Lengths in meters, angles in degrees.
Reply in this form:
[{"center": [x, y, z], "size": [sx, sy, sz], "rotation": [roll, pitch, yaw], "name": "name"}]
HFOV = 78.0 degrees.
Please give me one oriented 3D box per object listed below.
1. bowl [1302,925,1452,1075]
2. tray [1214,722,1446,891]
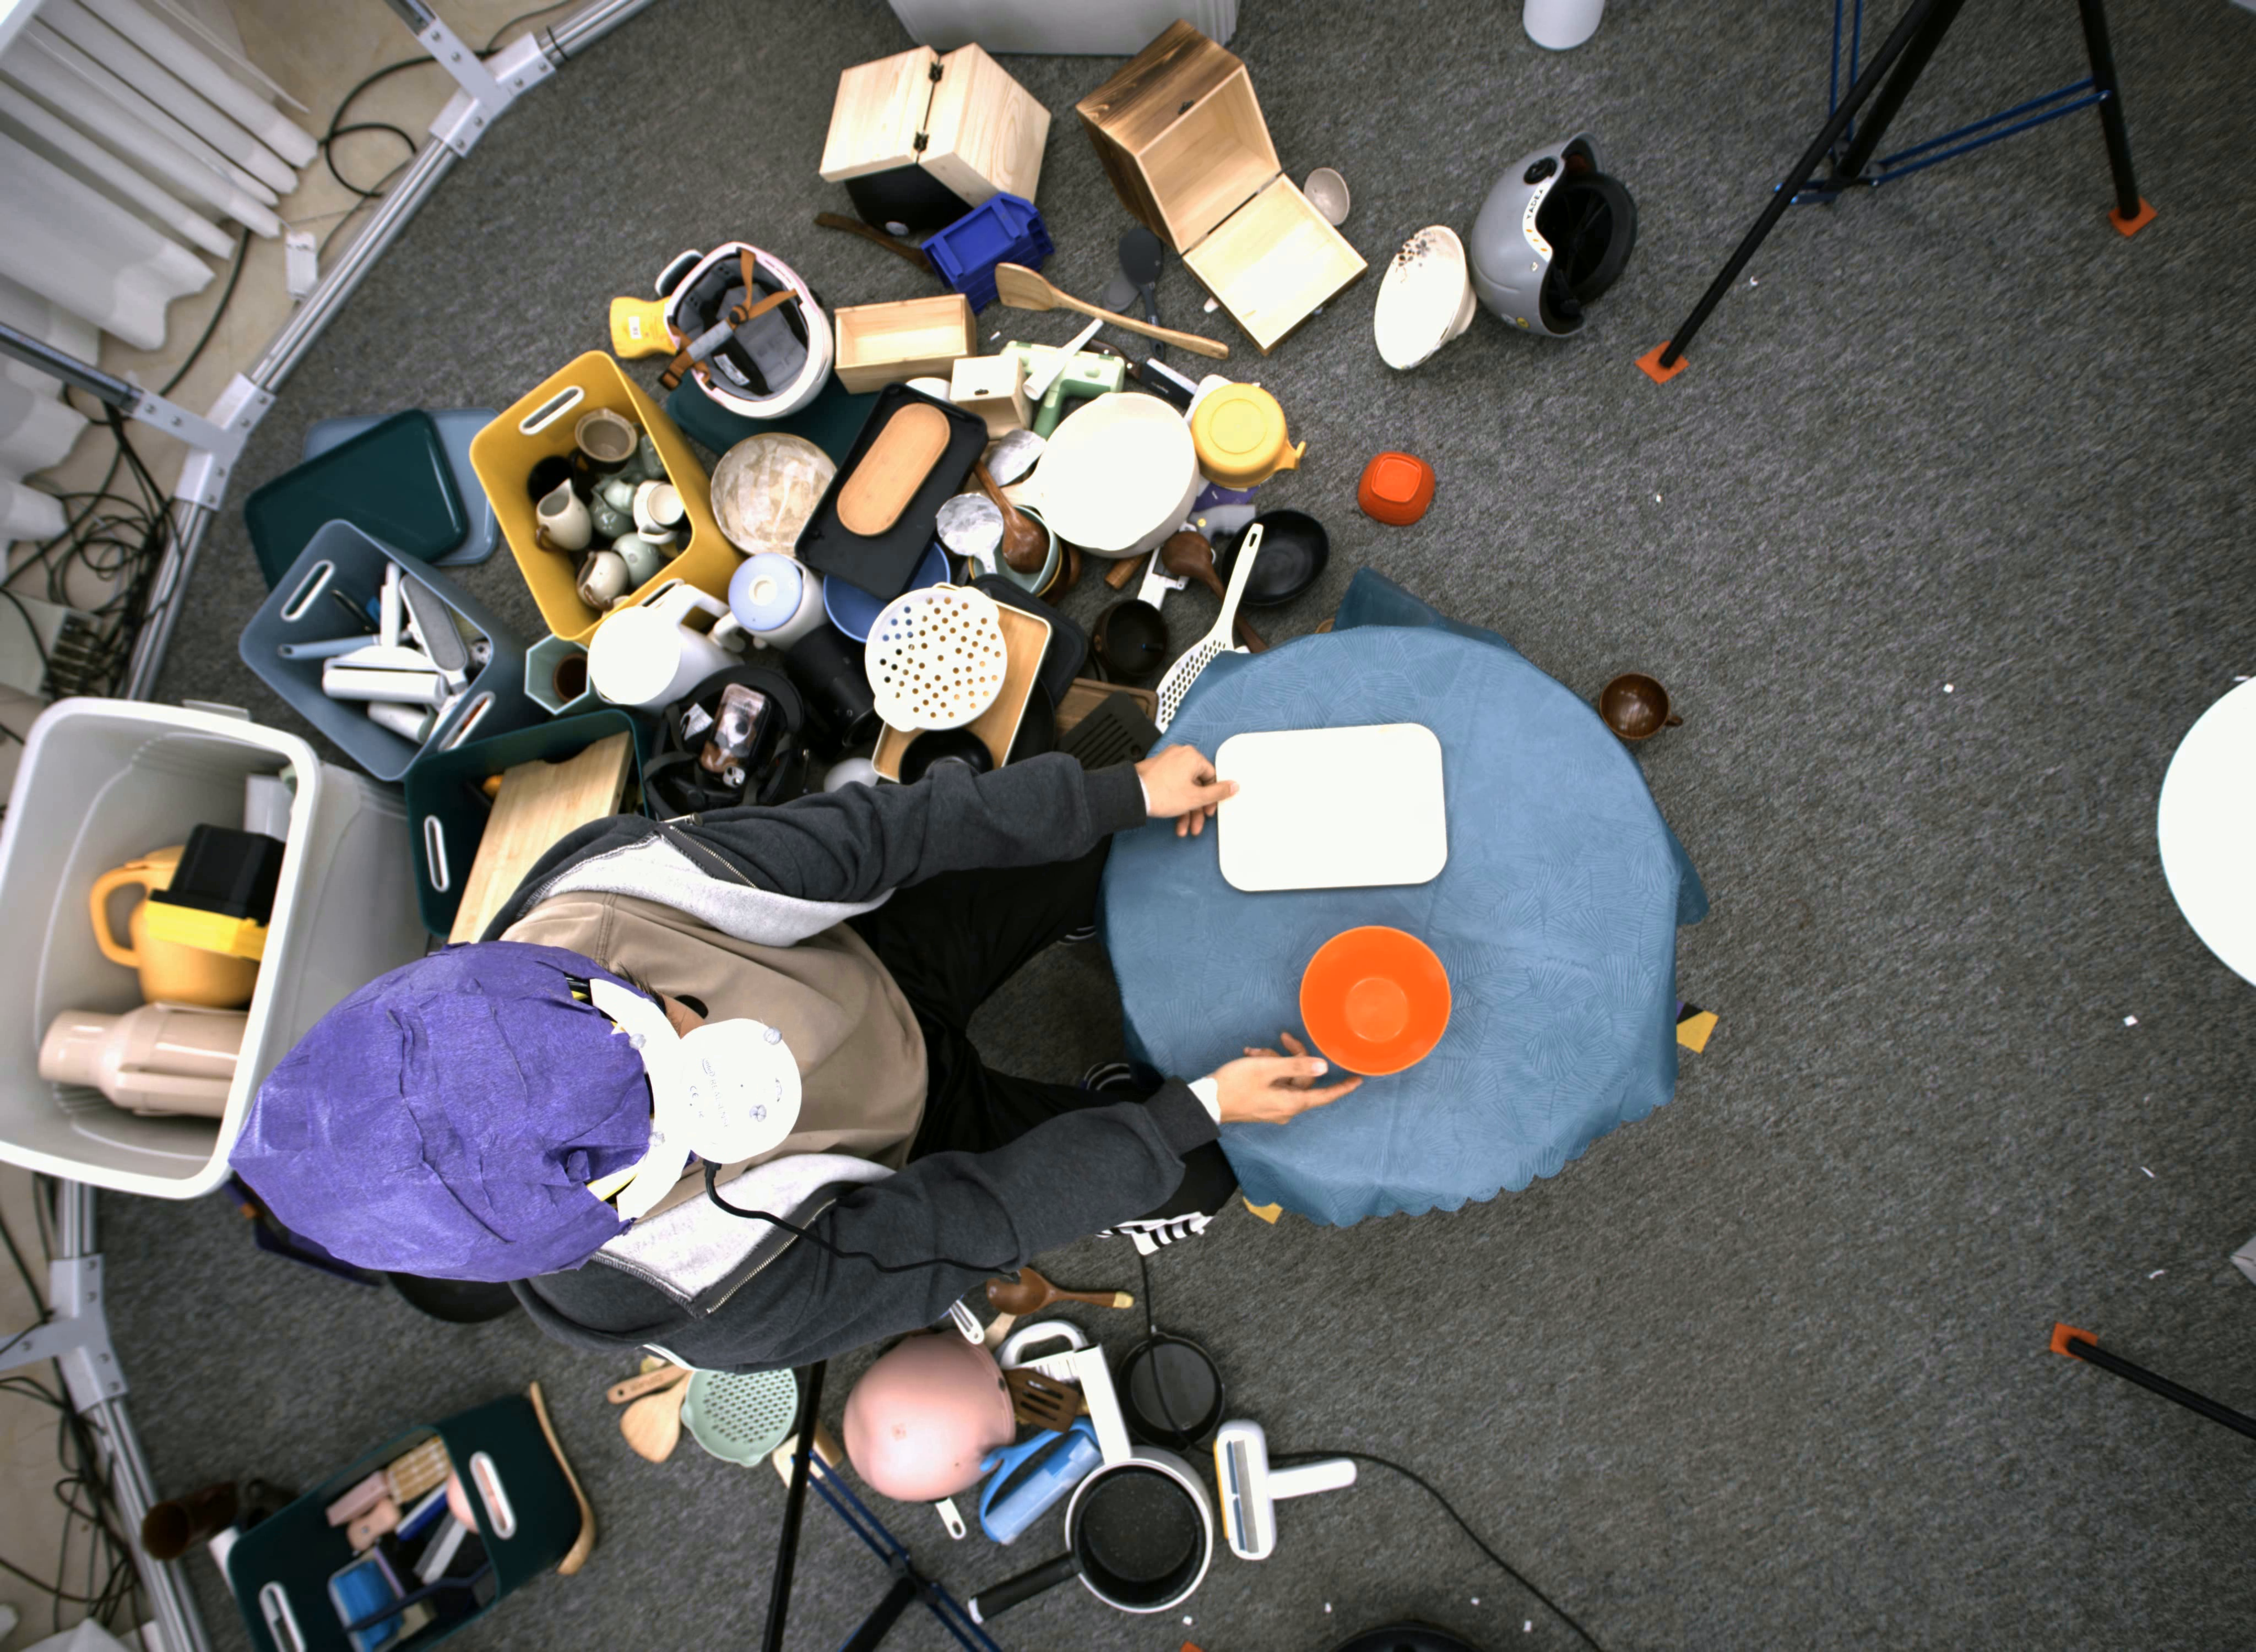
[{"center": [0.252, 0.175, 1.406], "size": [0.148, 0.105, 0.147], "rotation": [-1, 85, 9], "name": "bowl"}, {"center": [0.213, -0.021, 1.466], "size": [0.241, 0.017, 0.170], "rotation": [-3, 87, 10], "name": "tray"}]
